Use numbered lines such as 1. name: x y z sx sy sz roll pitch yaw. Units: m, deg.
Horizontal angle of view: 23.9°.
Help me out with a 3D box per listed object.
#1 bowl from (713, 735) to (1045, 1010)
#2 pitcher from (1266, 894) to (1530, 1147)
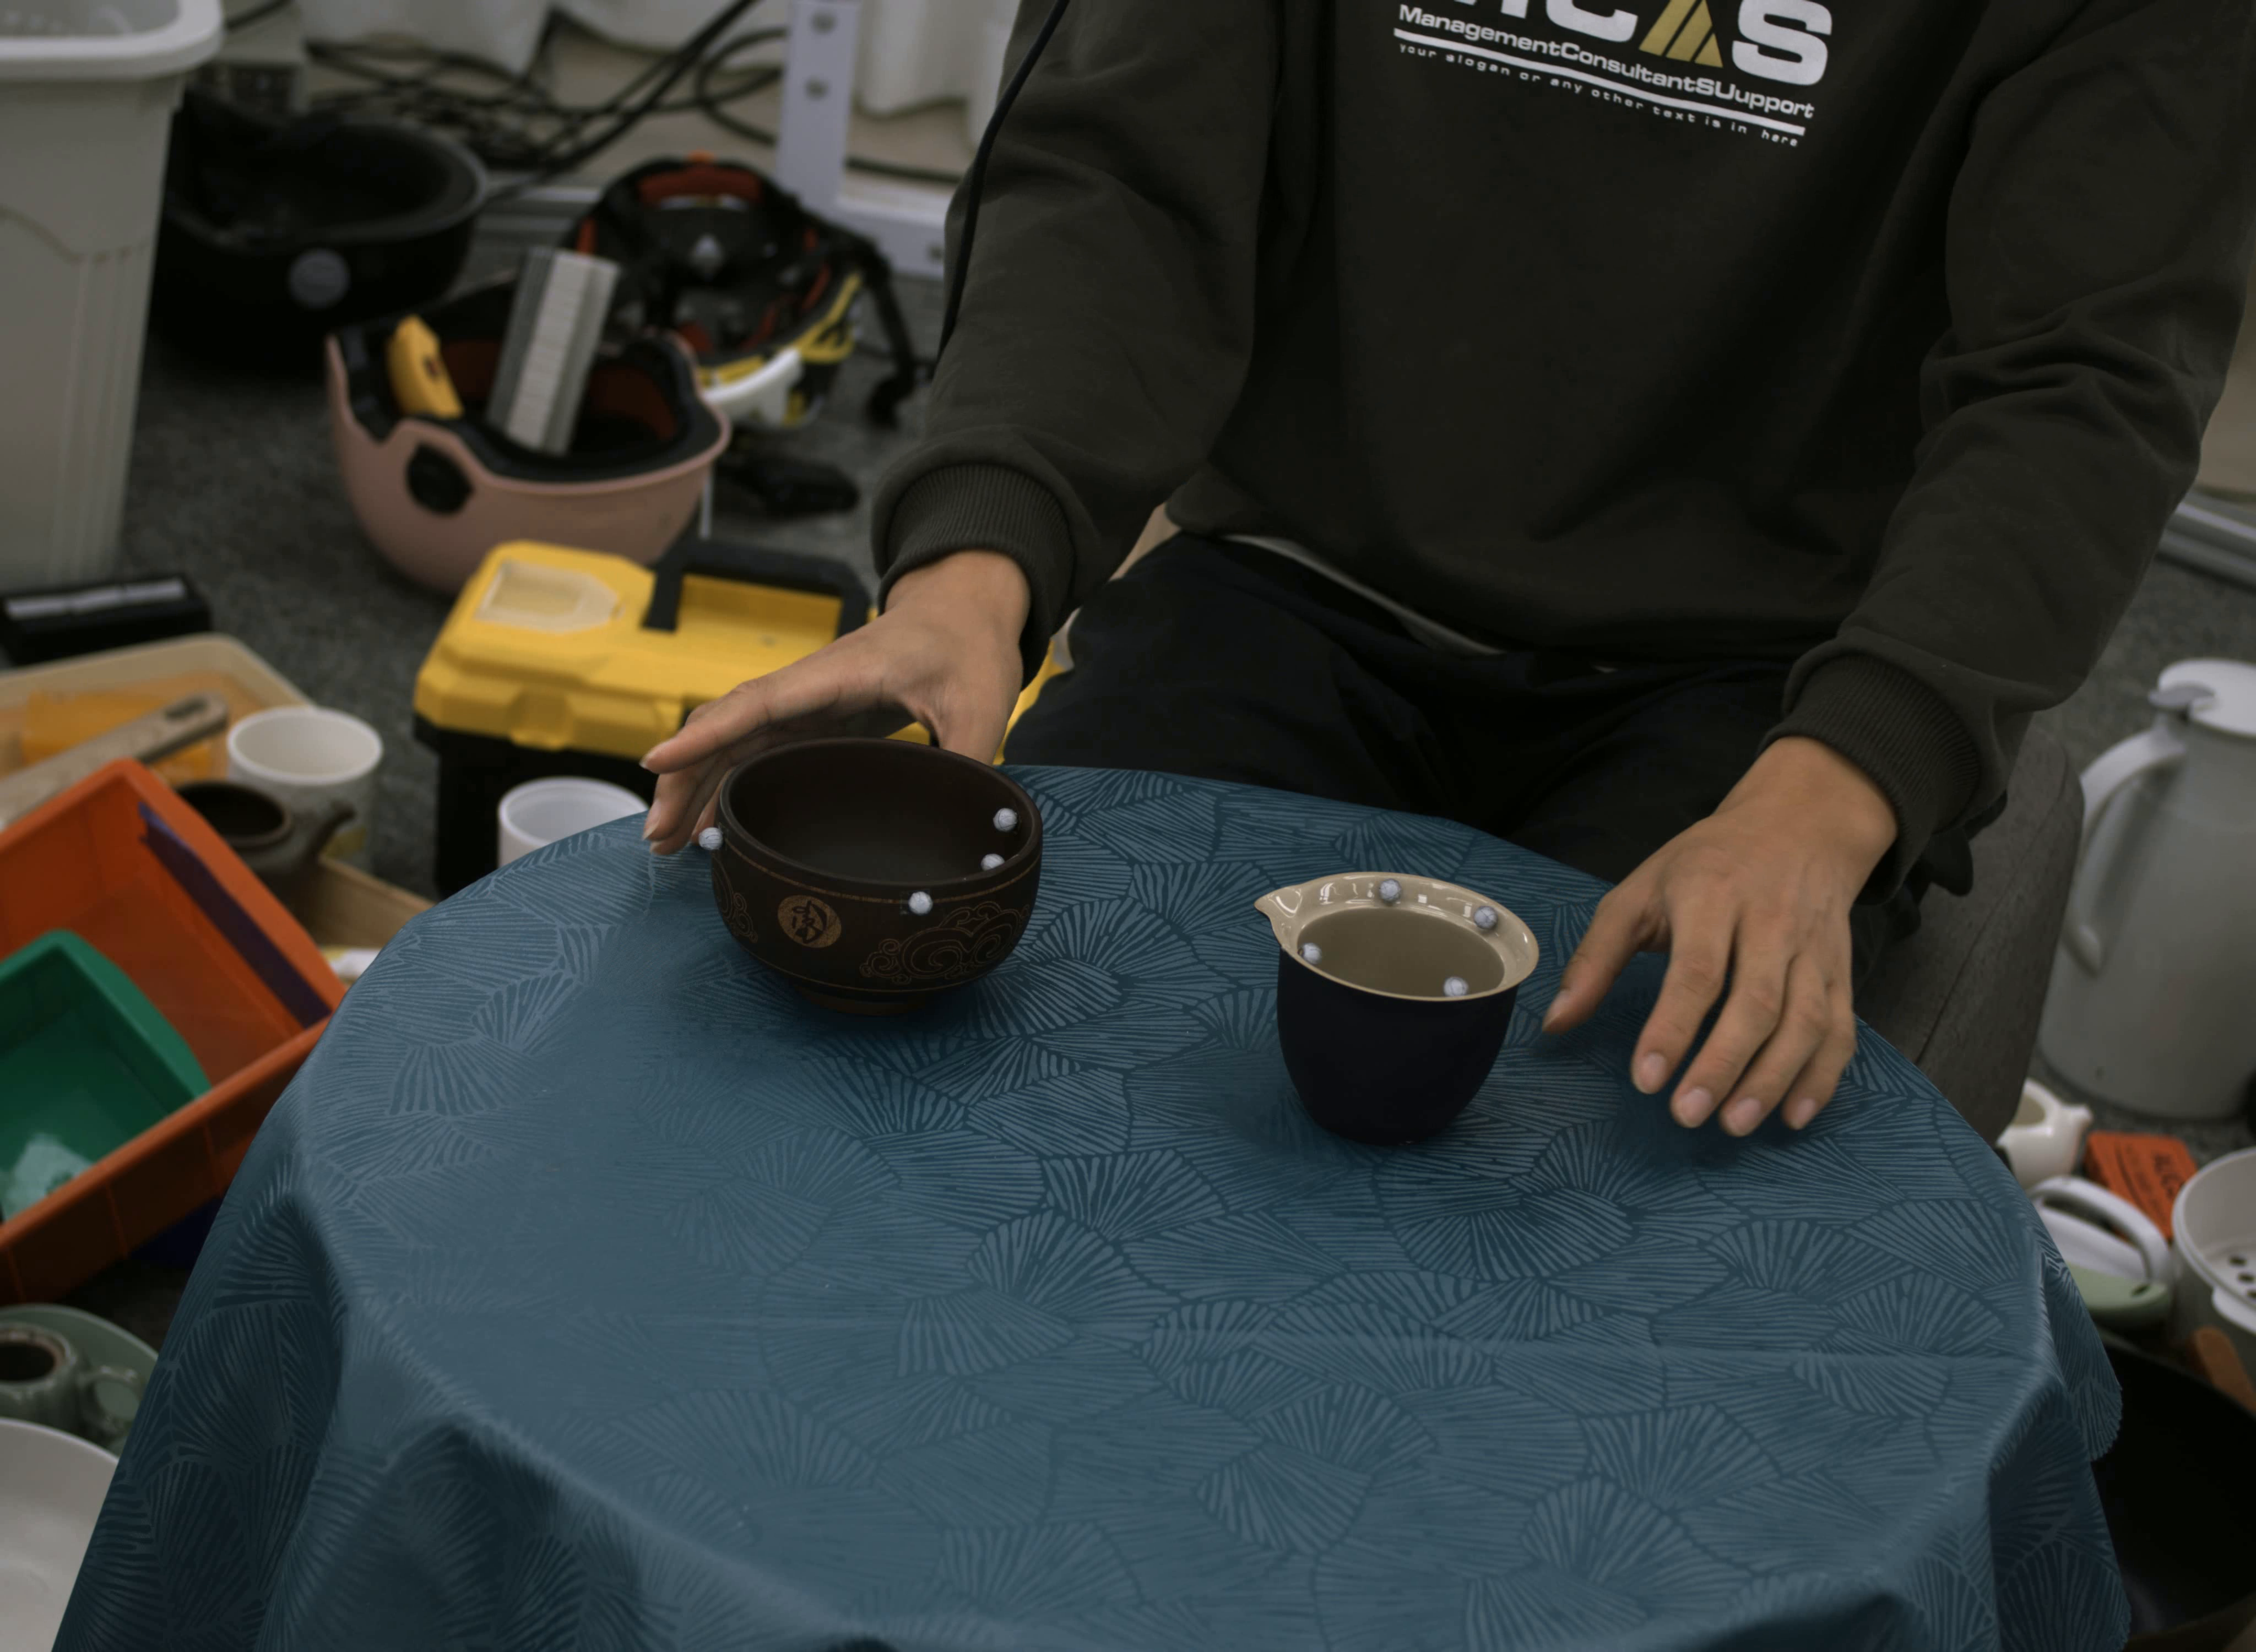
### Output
1. bowl: -0.091 0.023 1.903 0.117 0.069 0.119 6 25 -3
2. pitcher: 0.090 0.068 1.858 0.096 0.071 0.083 17 31 23
